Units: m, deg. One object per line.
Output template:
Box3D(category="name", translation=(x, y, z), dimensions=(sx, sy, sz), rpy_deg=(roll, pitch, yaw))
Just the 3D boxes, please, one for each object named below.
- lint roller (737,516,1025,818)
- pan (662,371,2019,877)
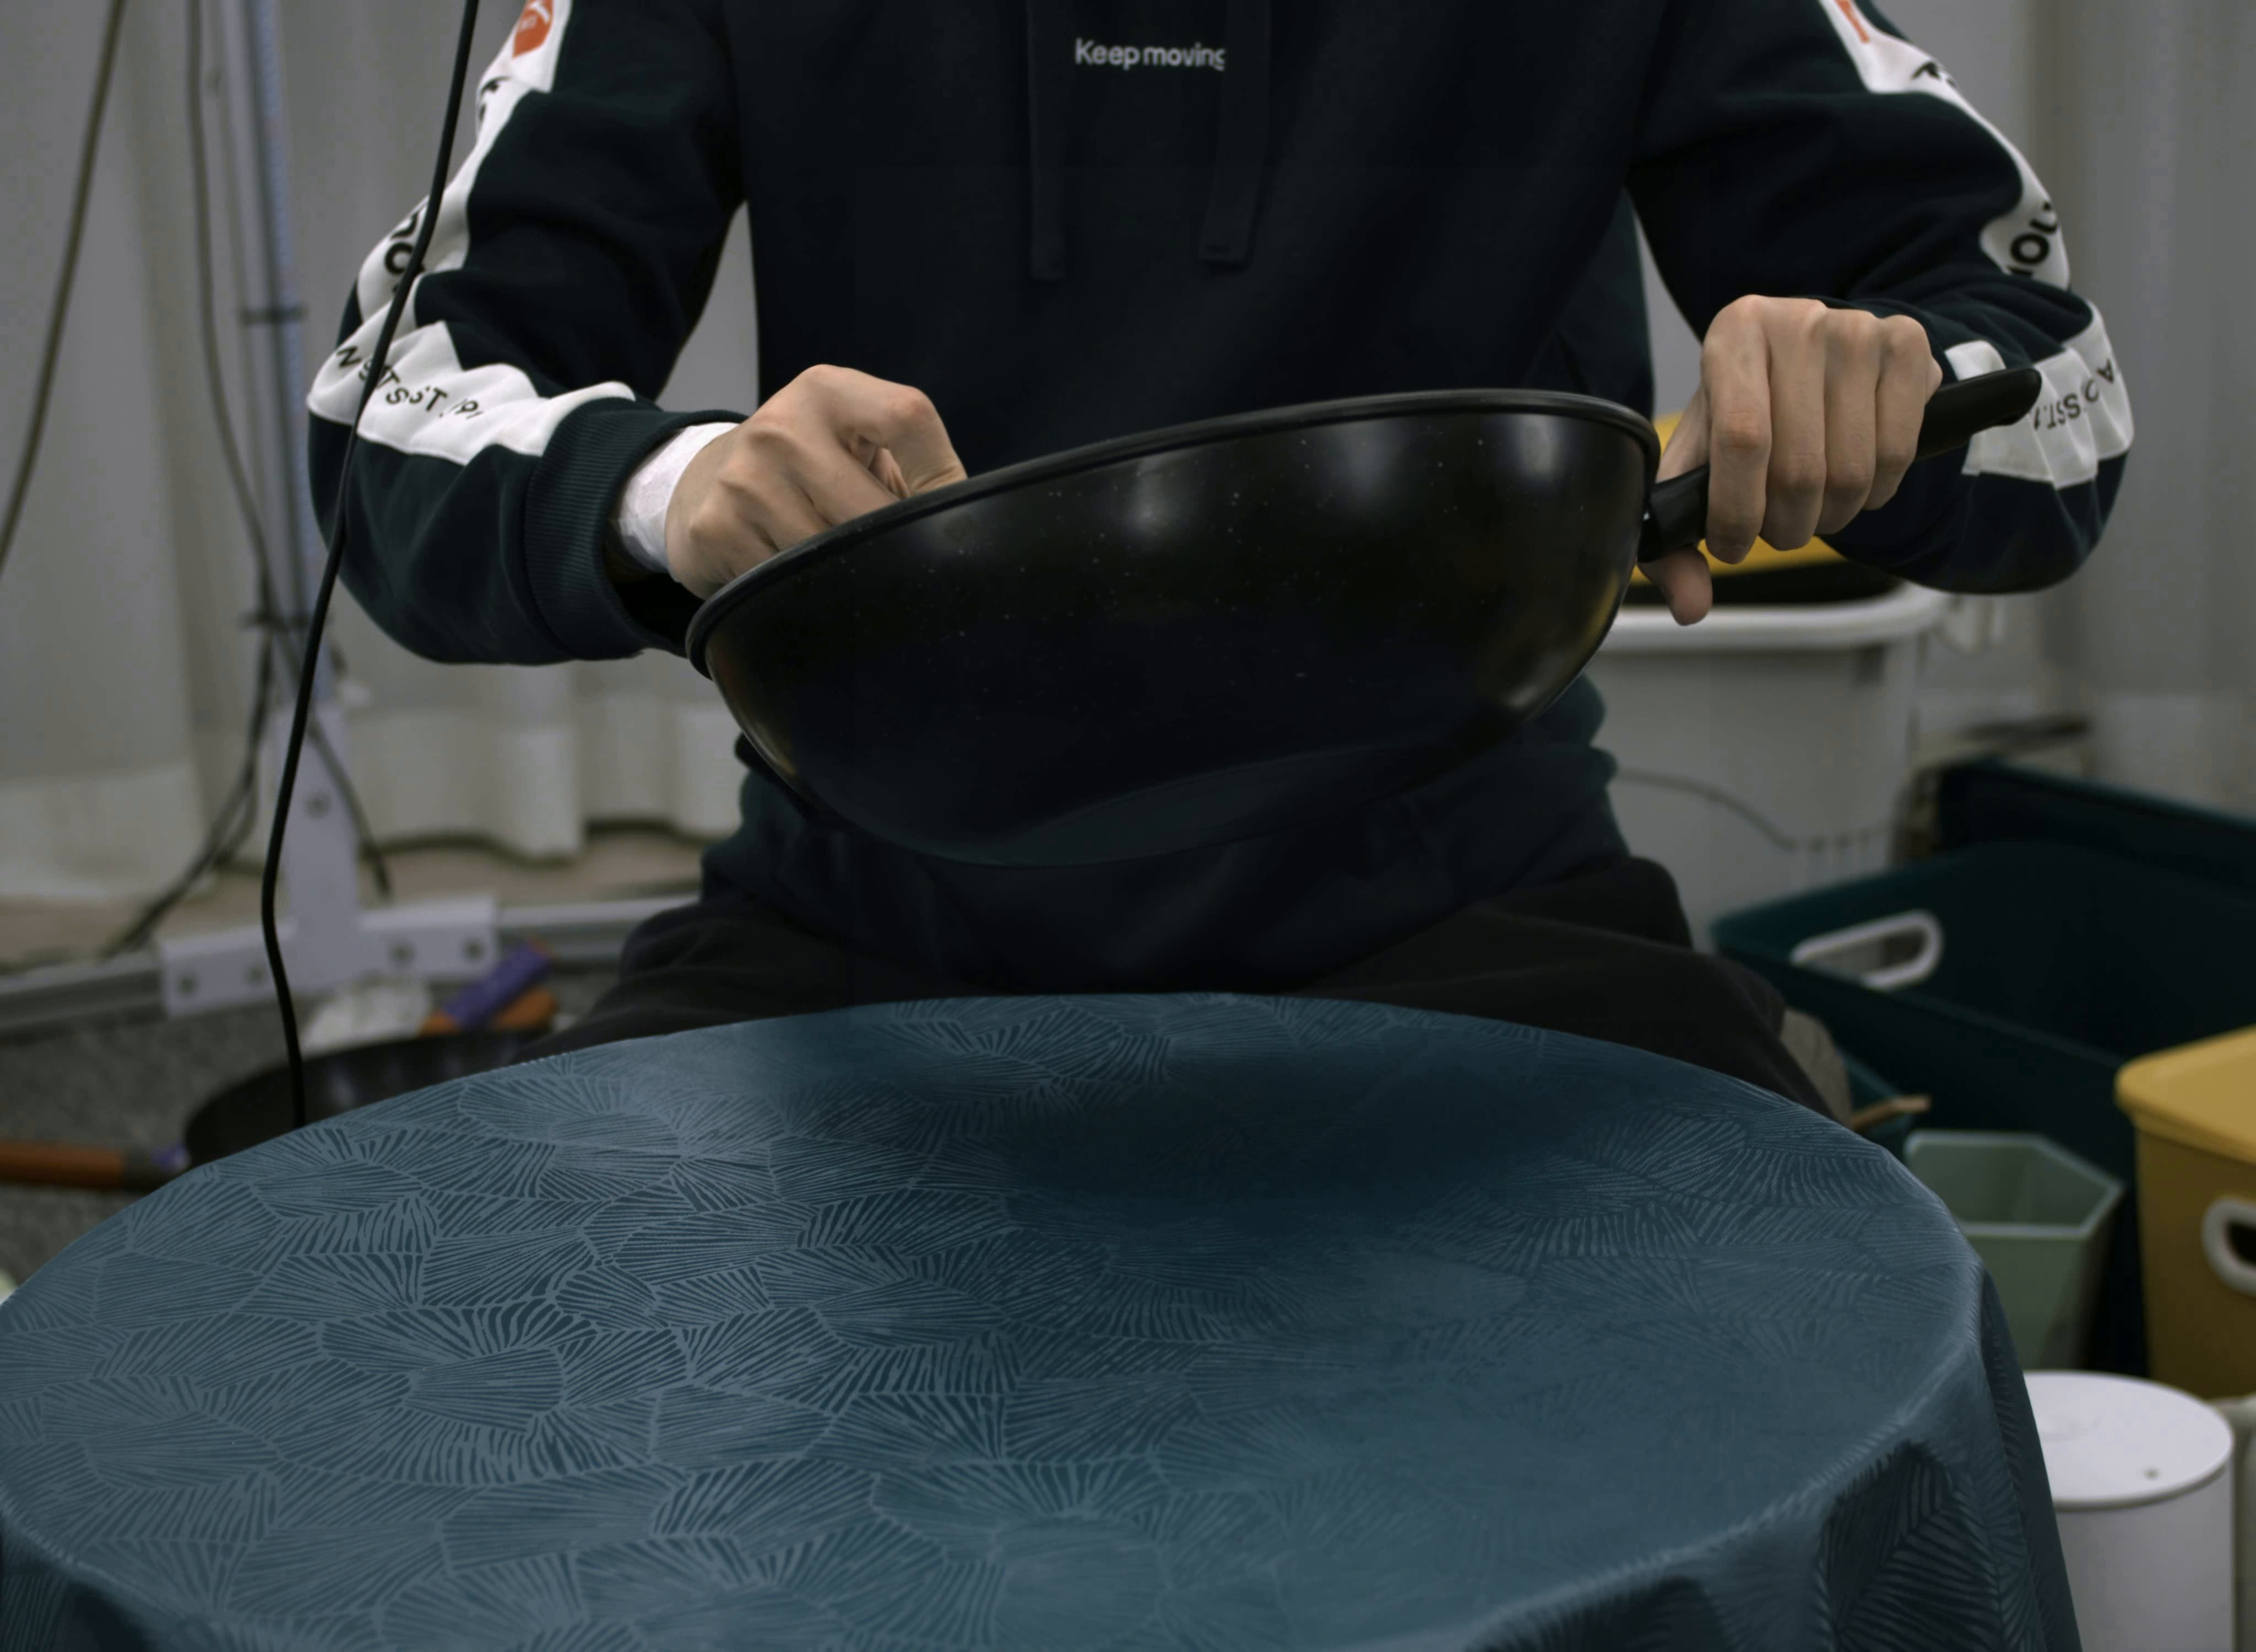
Box3D(category="lint roller", translation=(-0.045, -0.066, 1.739), dimensions=(0.181, 0.067, 0.229), rpy_deg=(27, 21, 22))
Box3D(category="pan", translation=(0.089, -0.066, 1.727), dimensions=(0.474, 0.112, 0.309), rpy_deg=(-8, -9, -24))
